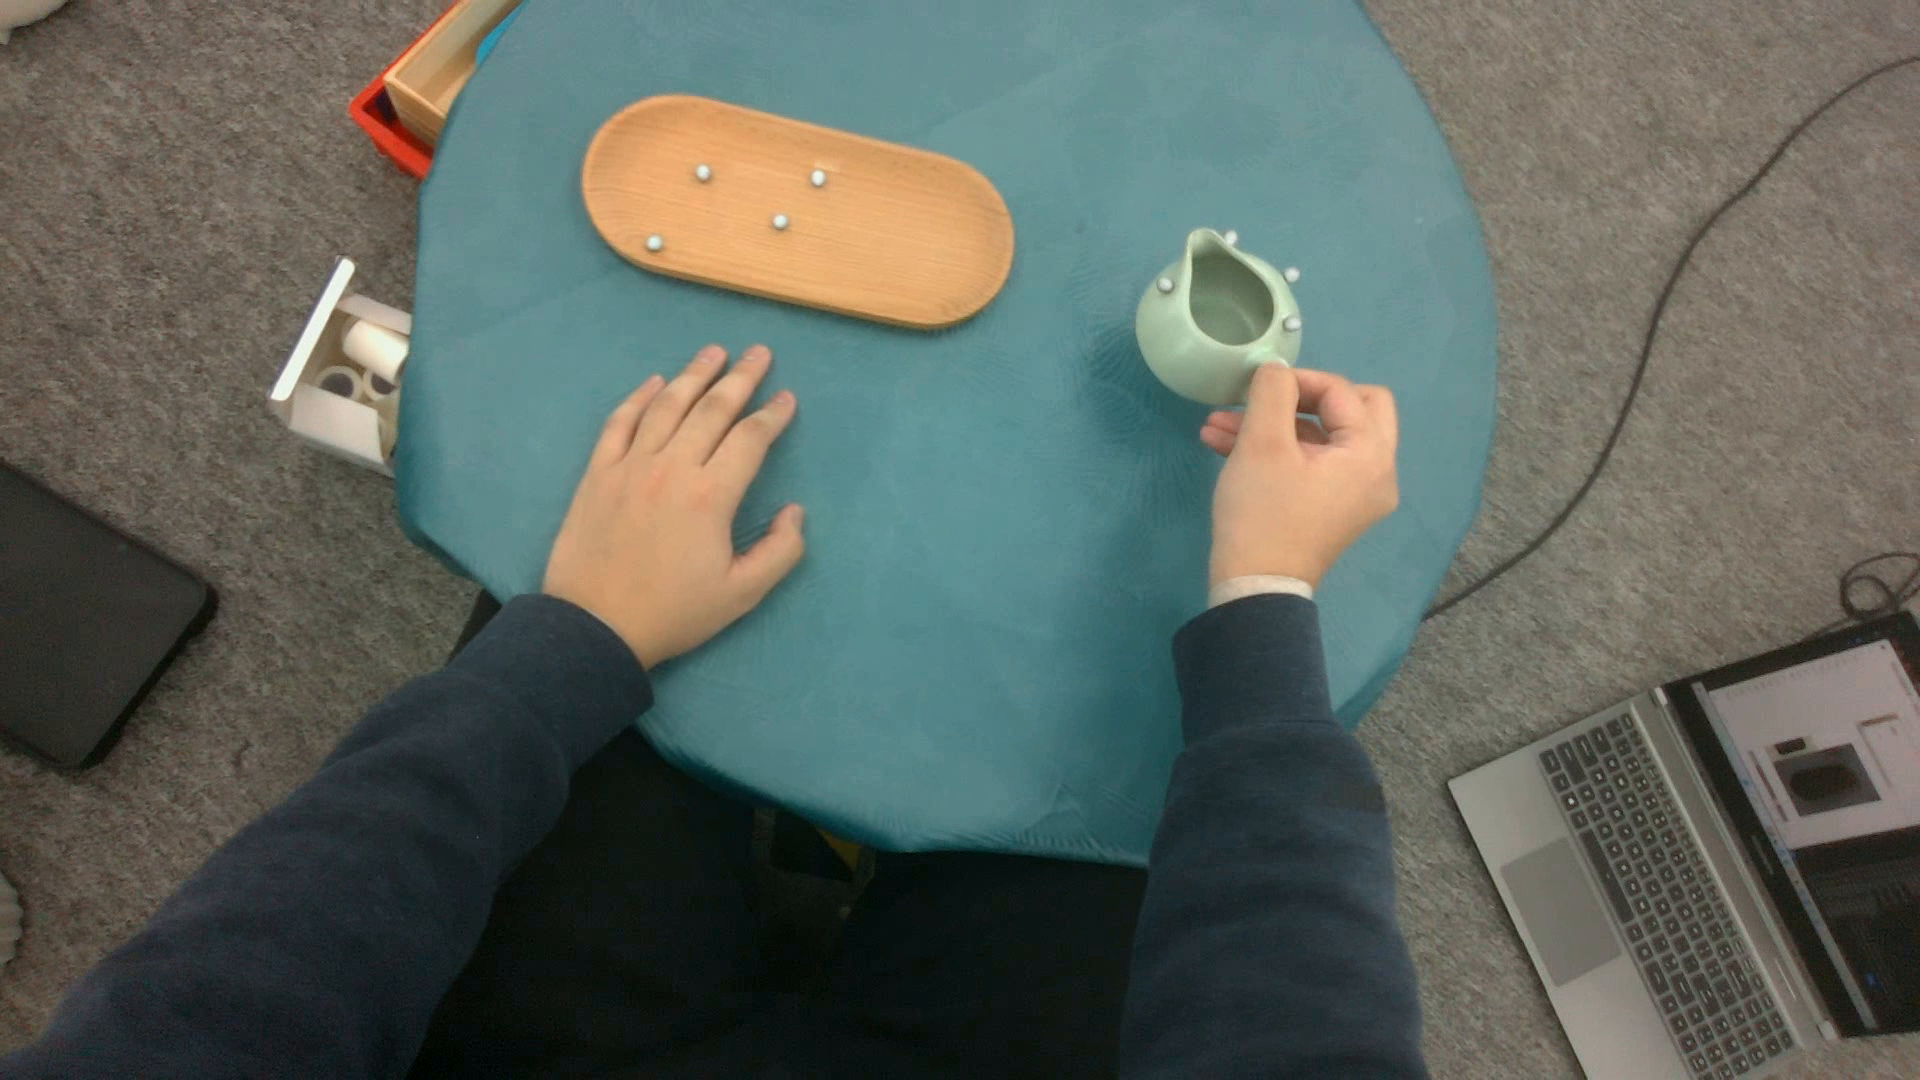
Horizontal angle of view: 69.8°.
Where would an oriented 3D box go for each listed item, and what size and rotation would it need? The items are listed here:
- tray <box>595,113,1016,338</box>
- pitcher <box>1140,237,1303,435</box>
[{"bbox_3d":[-0.083,-0.172,0.758,0.231,0.020,0.102,11,76,-8],"label":"tray"},{"bbox_3d":[0.144,-0.102,0.722,0.086,0.060,0.108,-25,77,-8],"label":"pitcher"}]
